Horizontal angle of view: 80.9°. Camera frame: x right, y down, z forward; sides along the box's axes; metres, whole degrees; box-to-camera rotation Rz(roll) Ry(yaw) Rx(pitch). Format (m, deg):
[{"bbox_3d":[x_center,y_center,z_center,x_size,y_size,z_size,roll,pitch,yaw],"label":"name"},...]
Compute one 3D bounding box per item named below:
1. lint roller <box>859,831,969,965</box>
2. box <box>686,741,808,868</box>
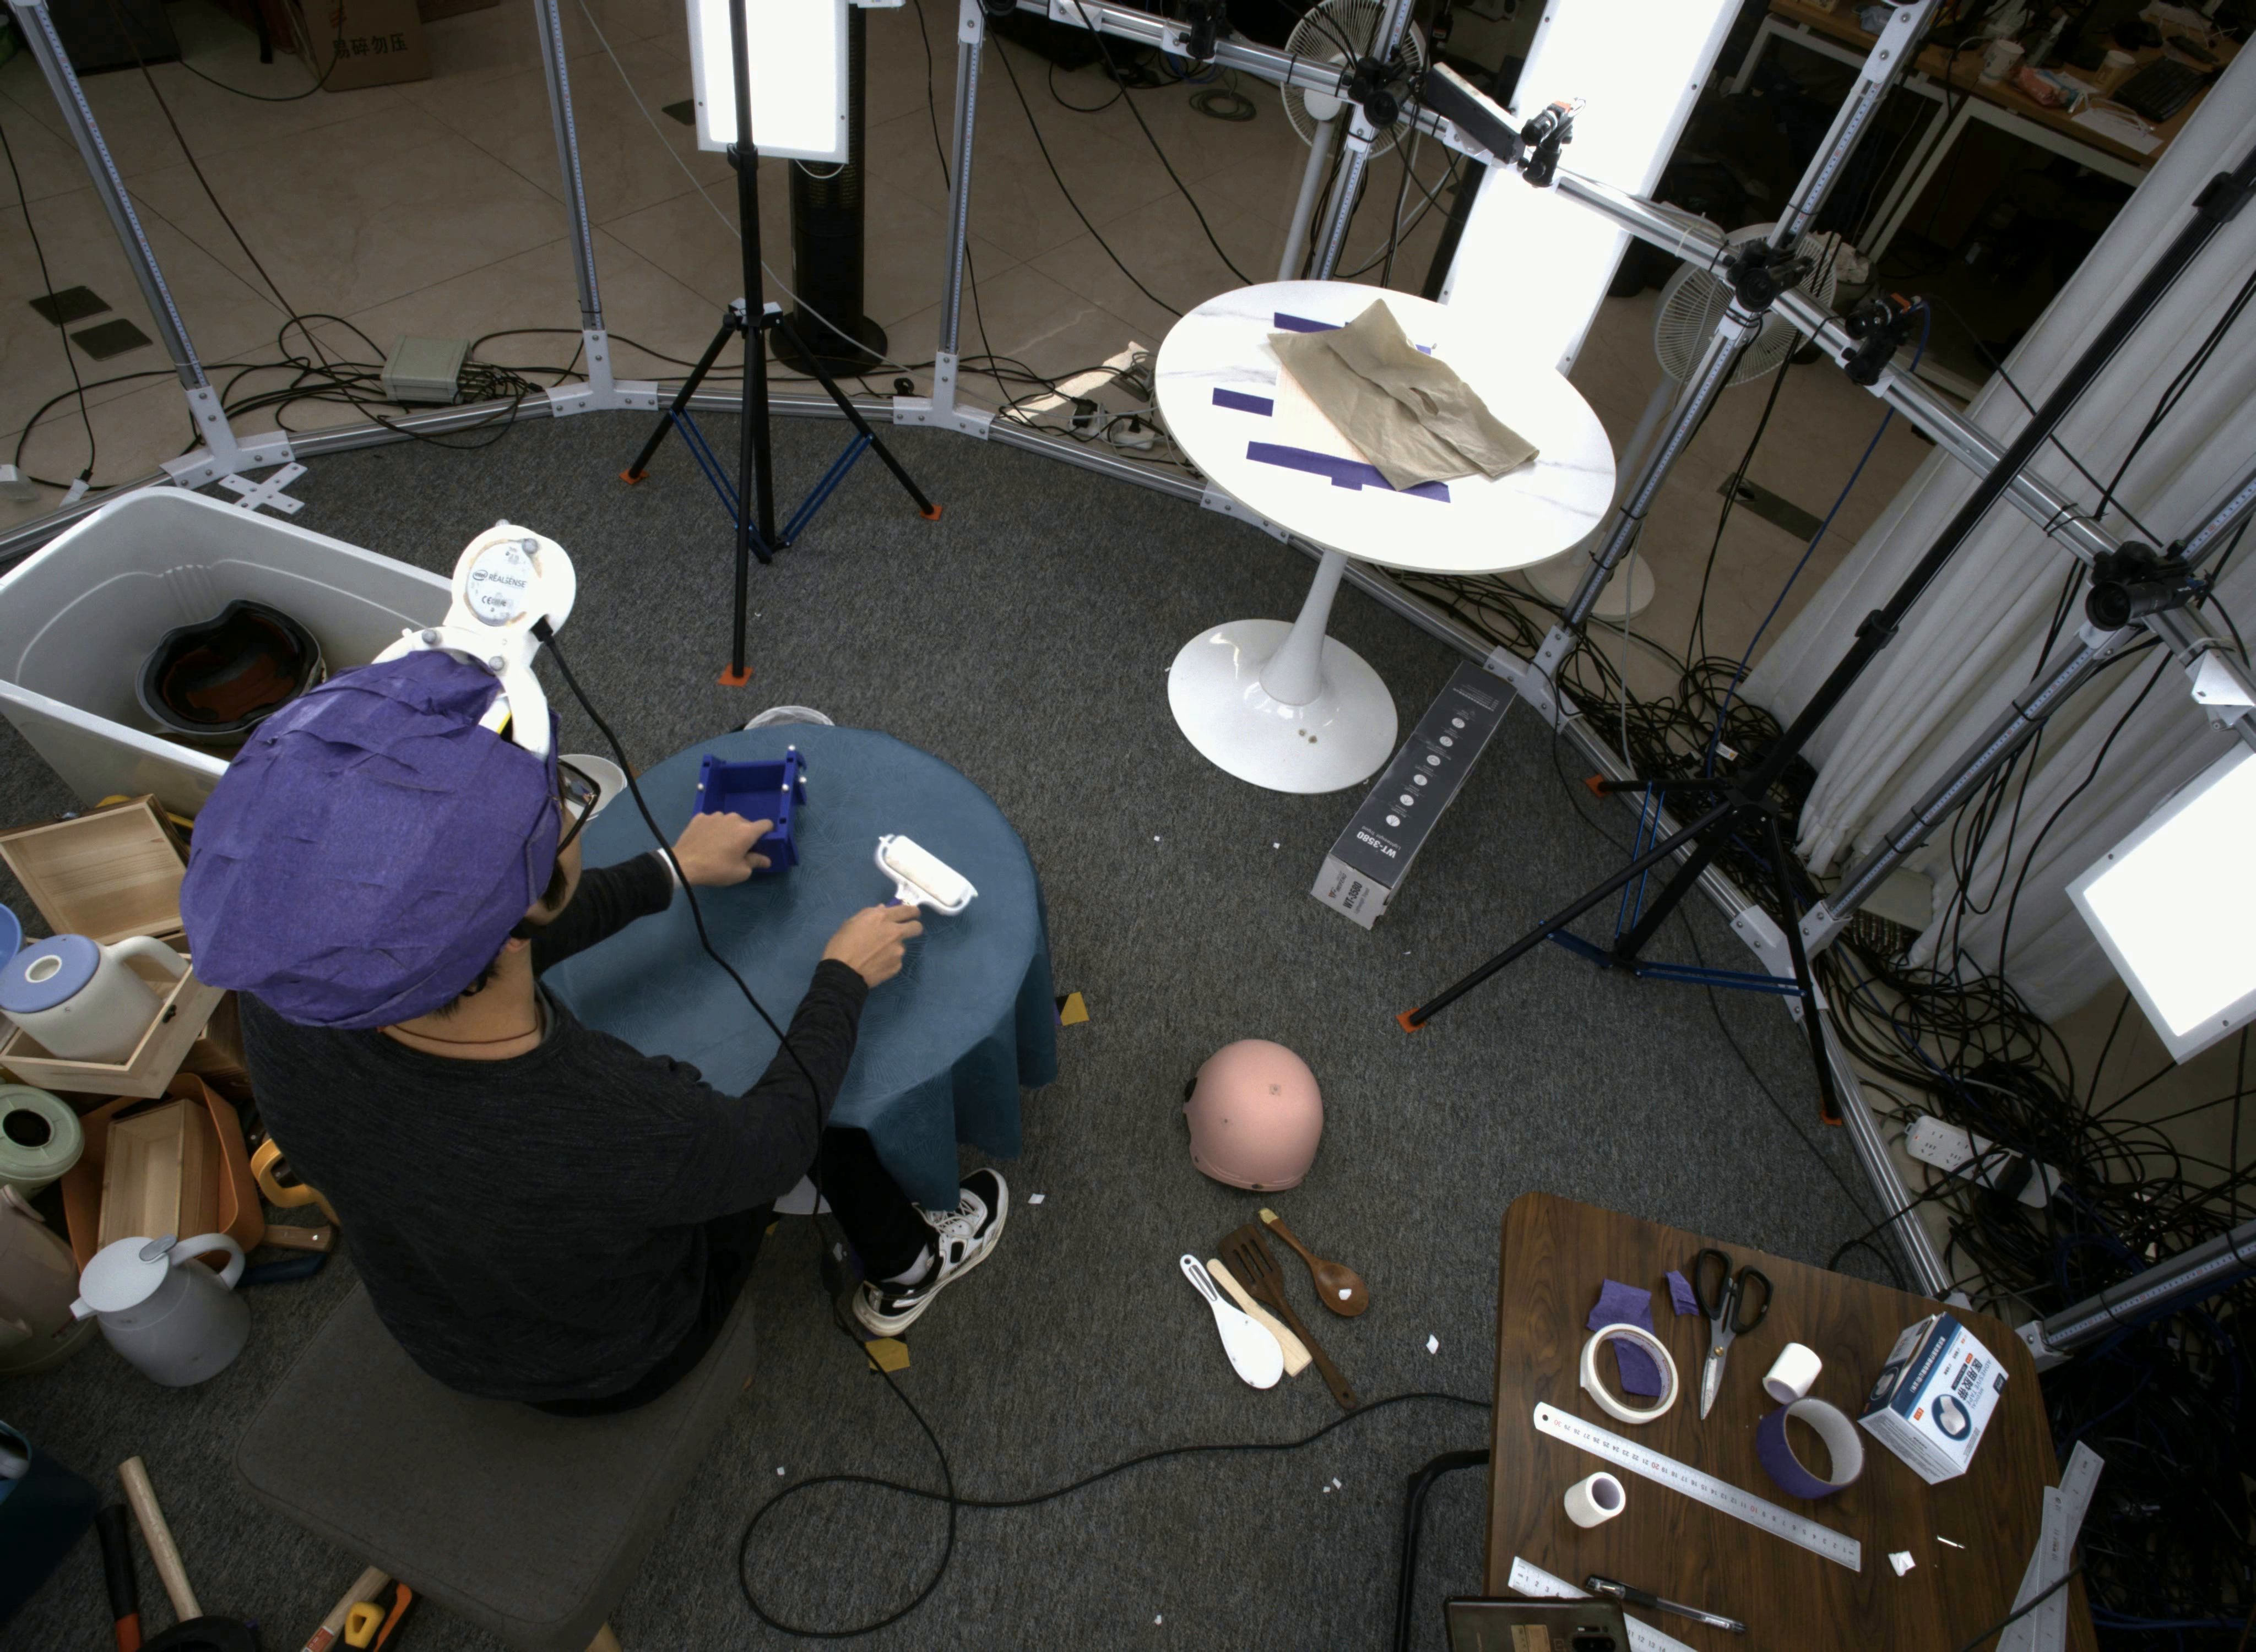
[{"bbox_3d":[-0.281,0.093,1.596,0.134,0.050,0.179,37,41,-10],"label":"lint roller"},{"bbox_3d":[-0.482,-0.035,1.643,0.123,0.084,0.176,-2,53,-2],"label":"box"}]
